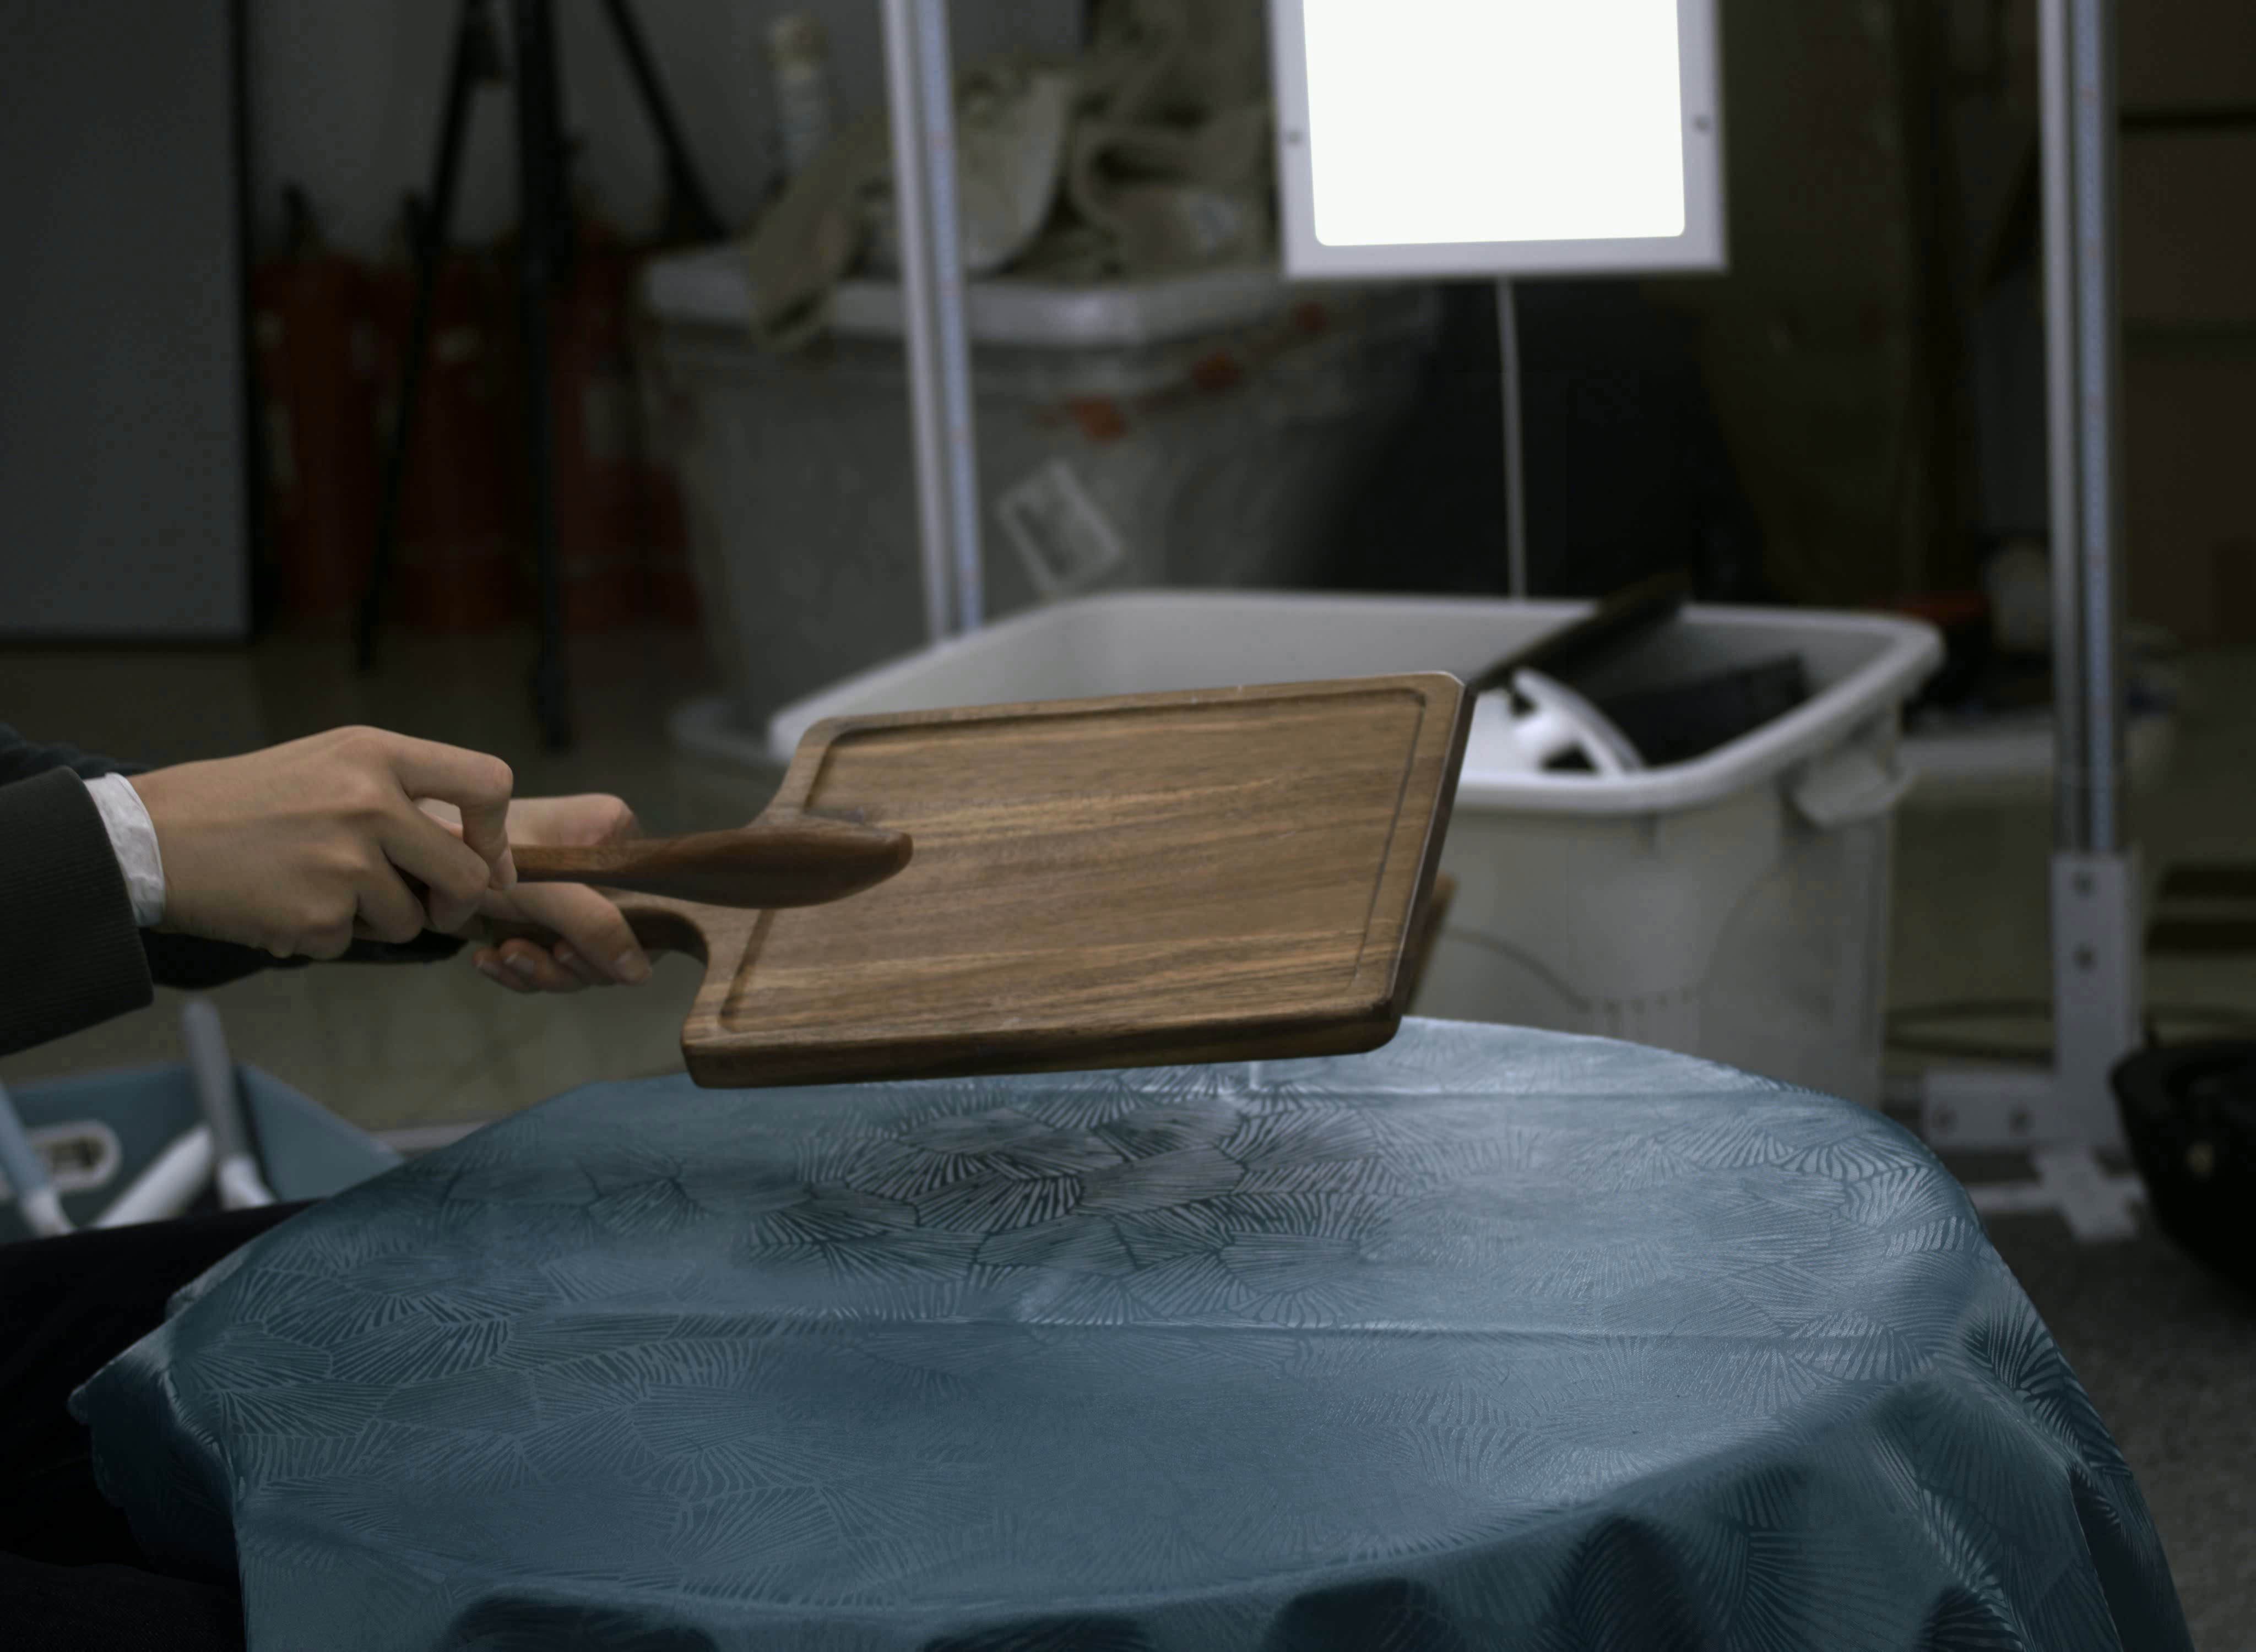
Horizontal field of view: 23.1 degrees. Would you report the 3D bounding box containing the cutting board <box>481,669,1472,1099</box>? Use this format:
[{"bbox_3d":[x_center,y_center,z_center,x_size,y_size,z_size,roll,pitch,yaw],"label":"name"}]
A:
[{"bbox_3d":[-0.061,0.022,1.926,0.356,0.023,0.199,-4,37,19],"label":"cutting board"}]

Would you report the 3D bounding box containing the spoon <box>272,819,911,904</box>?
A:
[{"bbox_3d":[-0.169,0.011,1.757,0.211,0.017,0.077,3,-12,-26],"label":"spoon"}]
